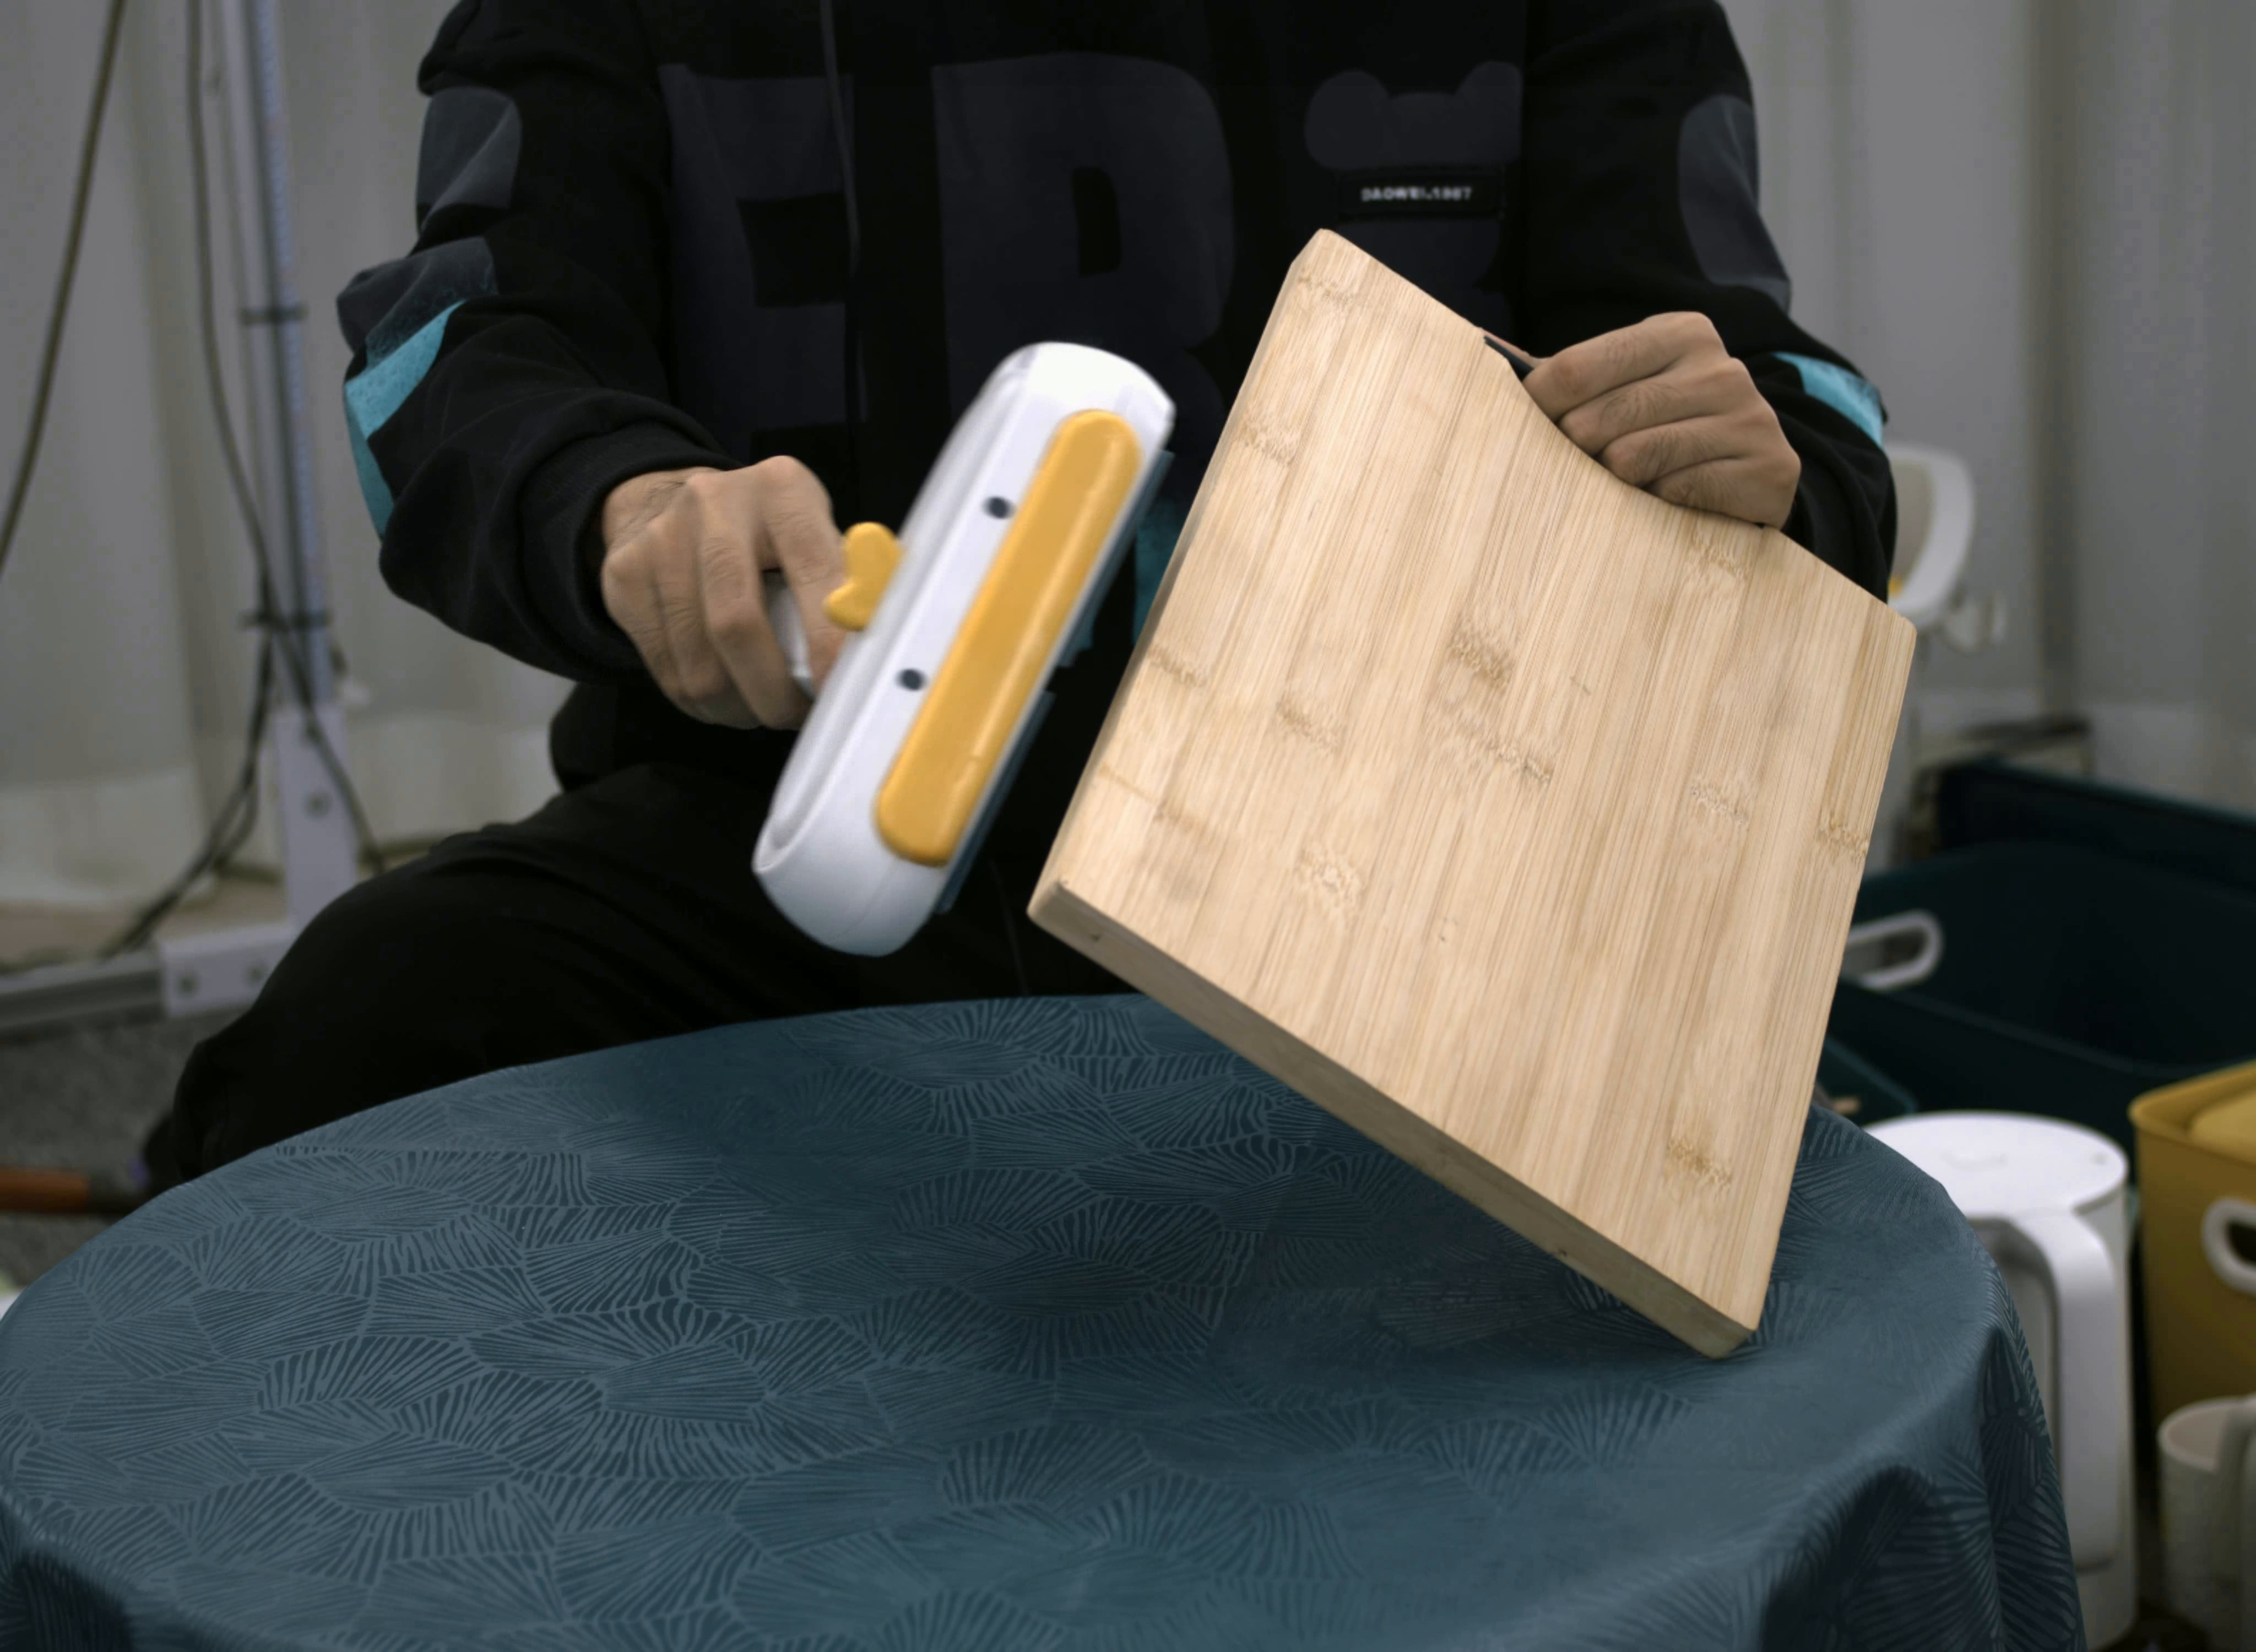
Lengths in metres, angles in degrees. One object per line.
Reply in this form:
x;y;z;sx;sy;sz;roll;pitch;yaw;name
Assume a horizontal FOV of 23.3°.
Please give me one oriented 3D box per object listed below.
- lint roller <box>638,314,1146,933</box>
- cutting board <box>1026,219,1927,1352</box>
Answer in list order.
-0.084;-0.057;1.638;0.073;0.194;0.192;27;-18;-23;lint roller
0.116;-0.023;1.656;0.249;0.023;0.353;32;40;-10;cutting board
